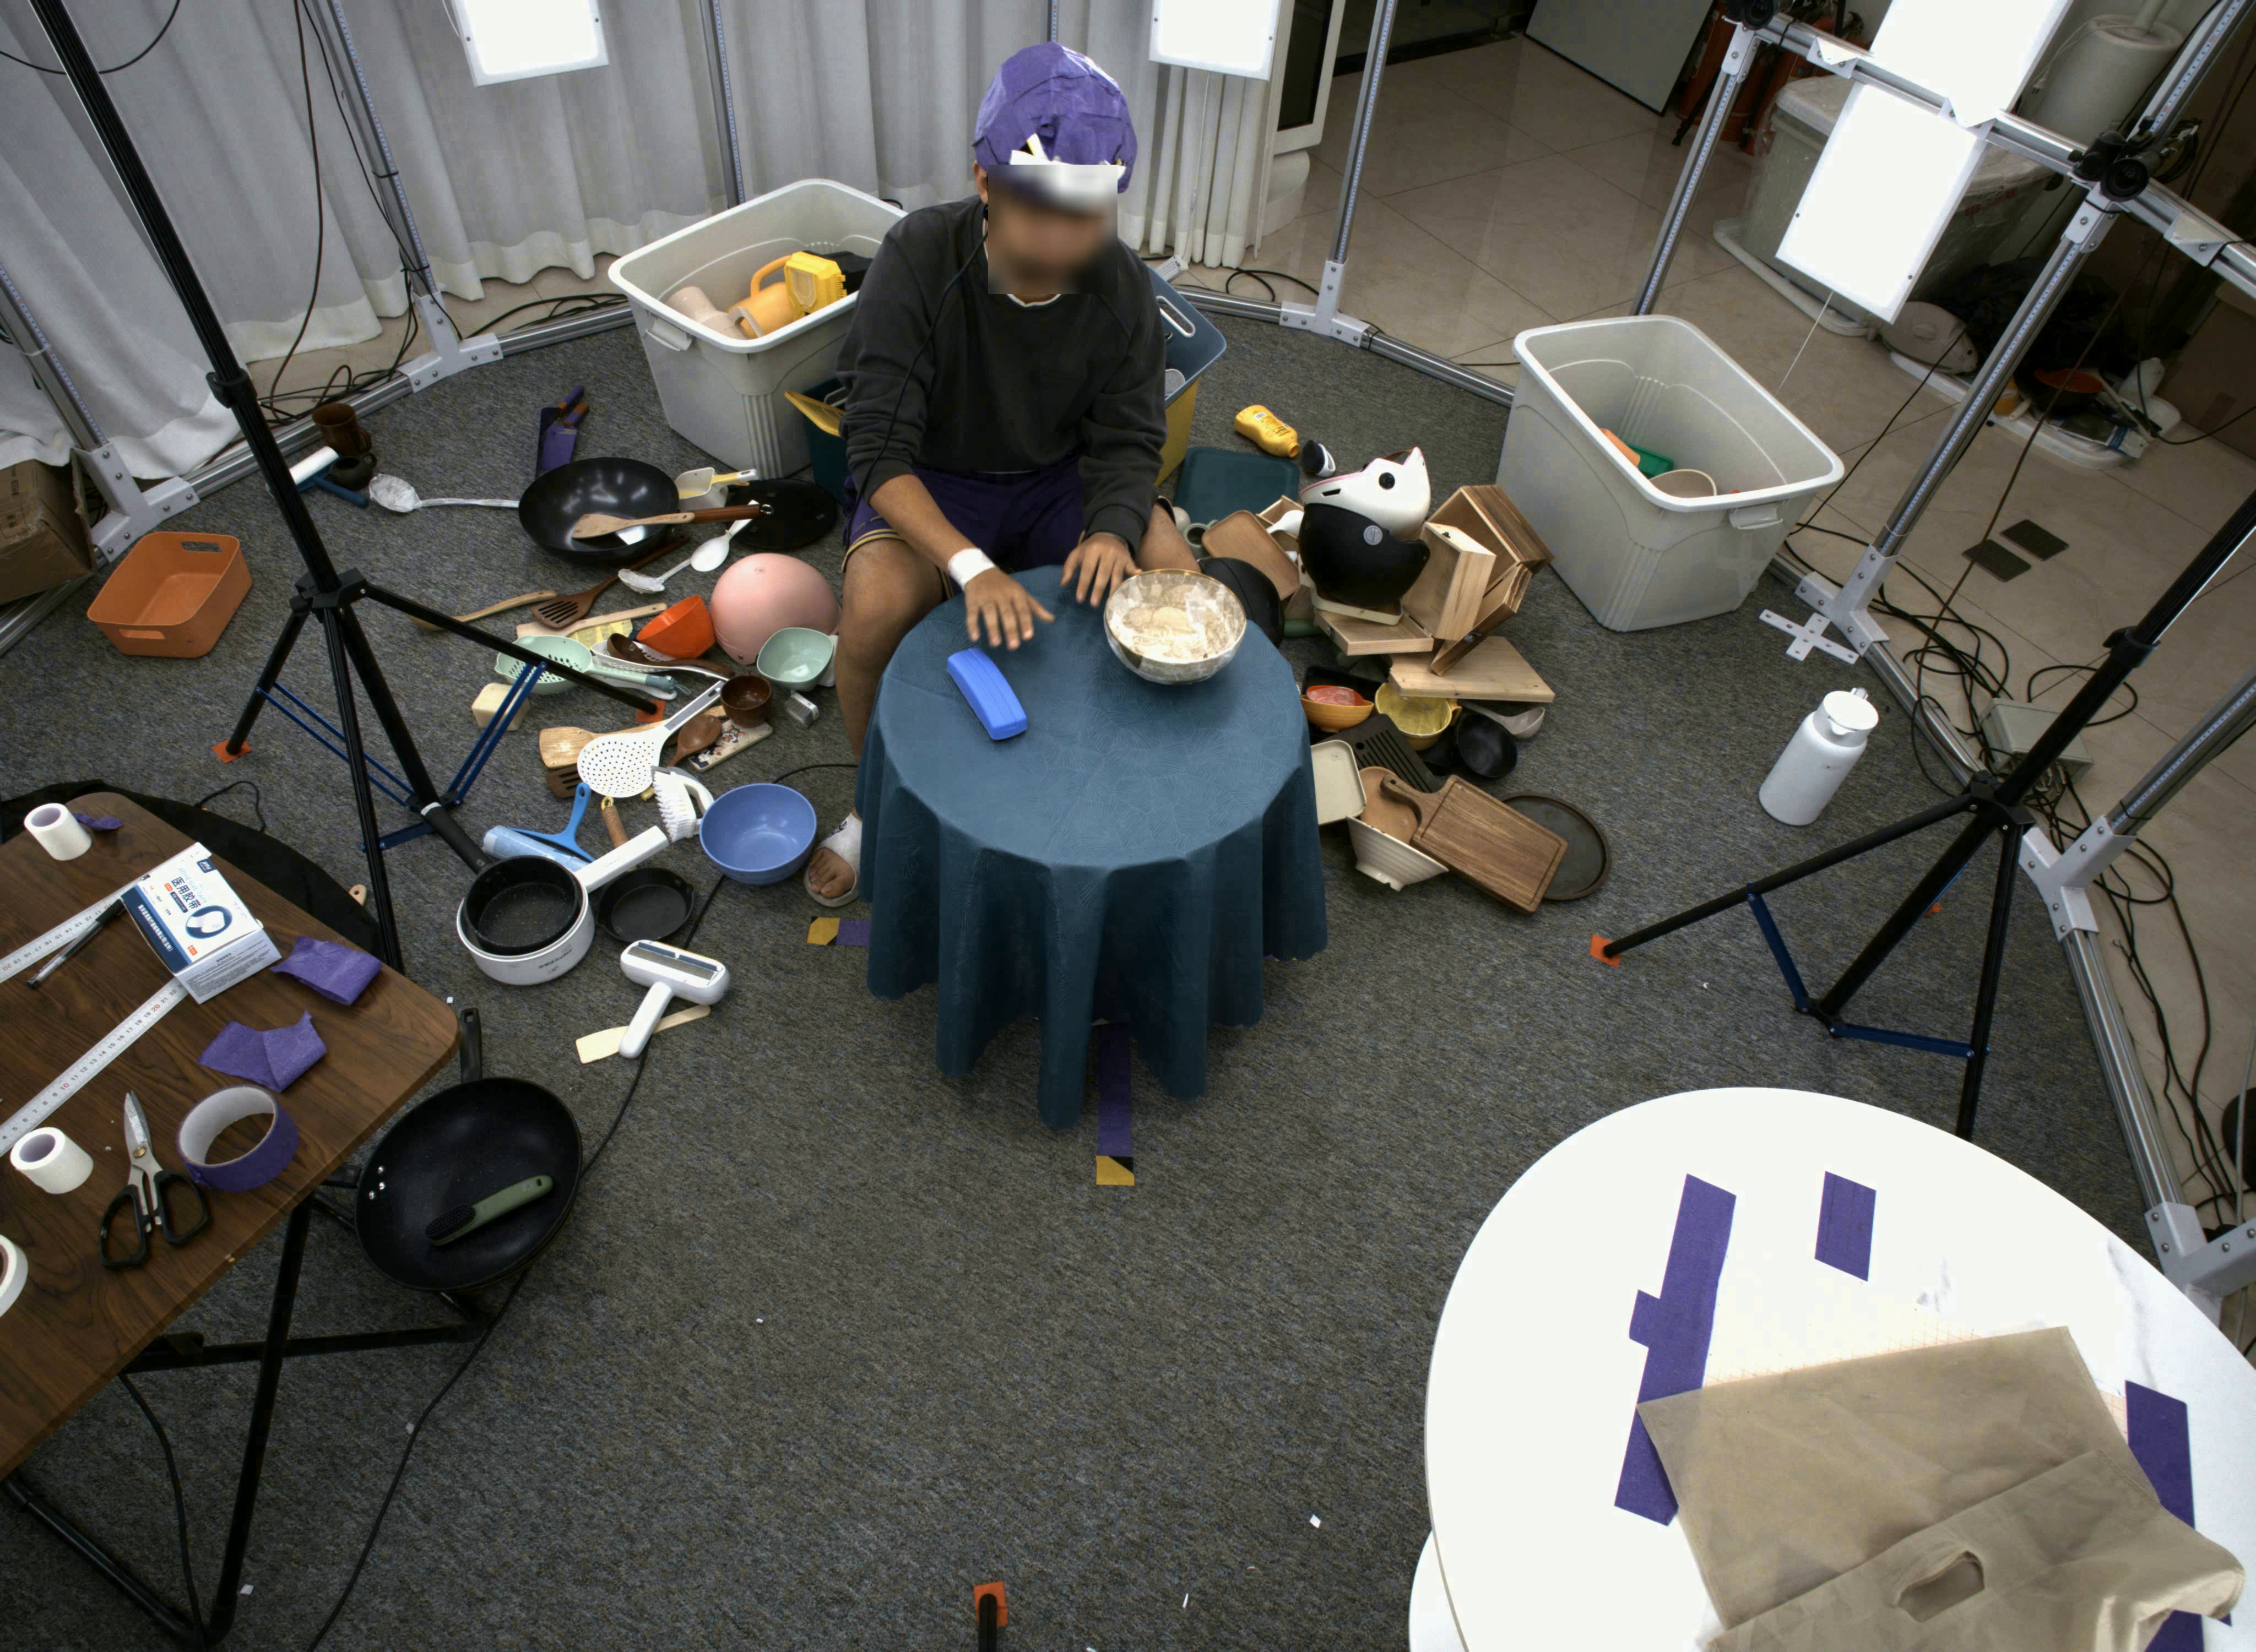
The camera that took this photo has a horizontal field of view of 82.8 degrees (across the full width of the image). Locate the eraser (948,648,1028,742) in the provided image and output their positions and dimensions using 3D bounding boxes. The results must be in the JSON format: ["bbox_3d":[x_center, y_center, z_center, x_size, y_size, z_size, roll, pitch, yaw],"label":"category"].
[{"bbox_3d":[-0.196,-0.188,1.788,0.054,0.046,0.166,-23,53,-18],"label":"eraser"}]

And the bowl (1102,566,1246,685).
[{"bbox_3d":[0.065,-0.274,1.849,0.214,0.092,0.220,1,49,-1],"label":"bowl"}]
